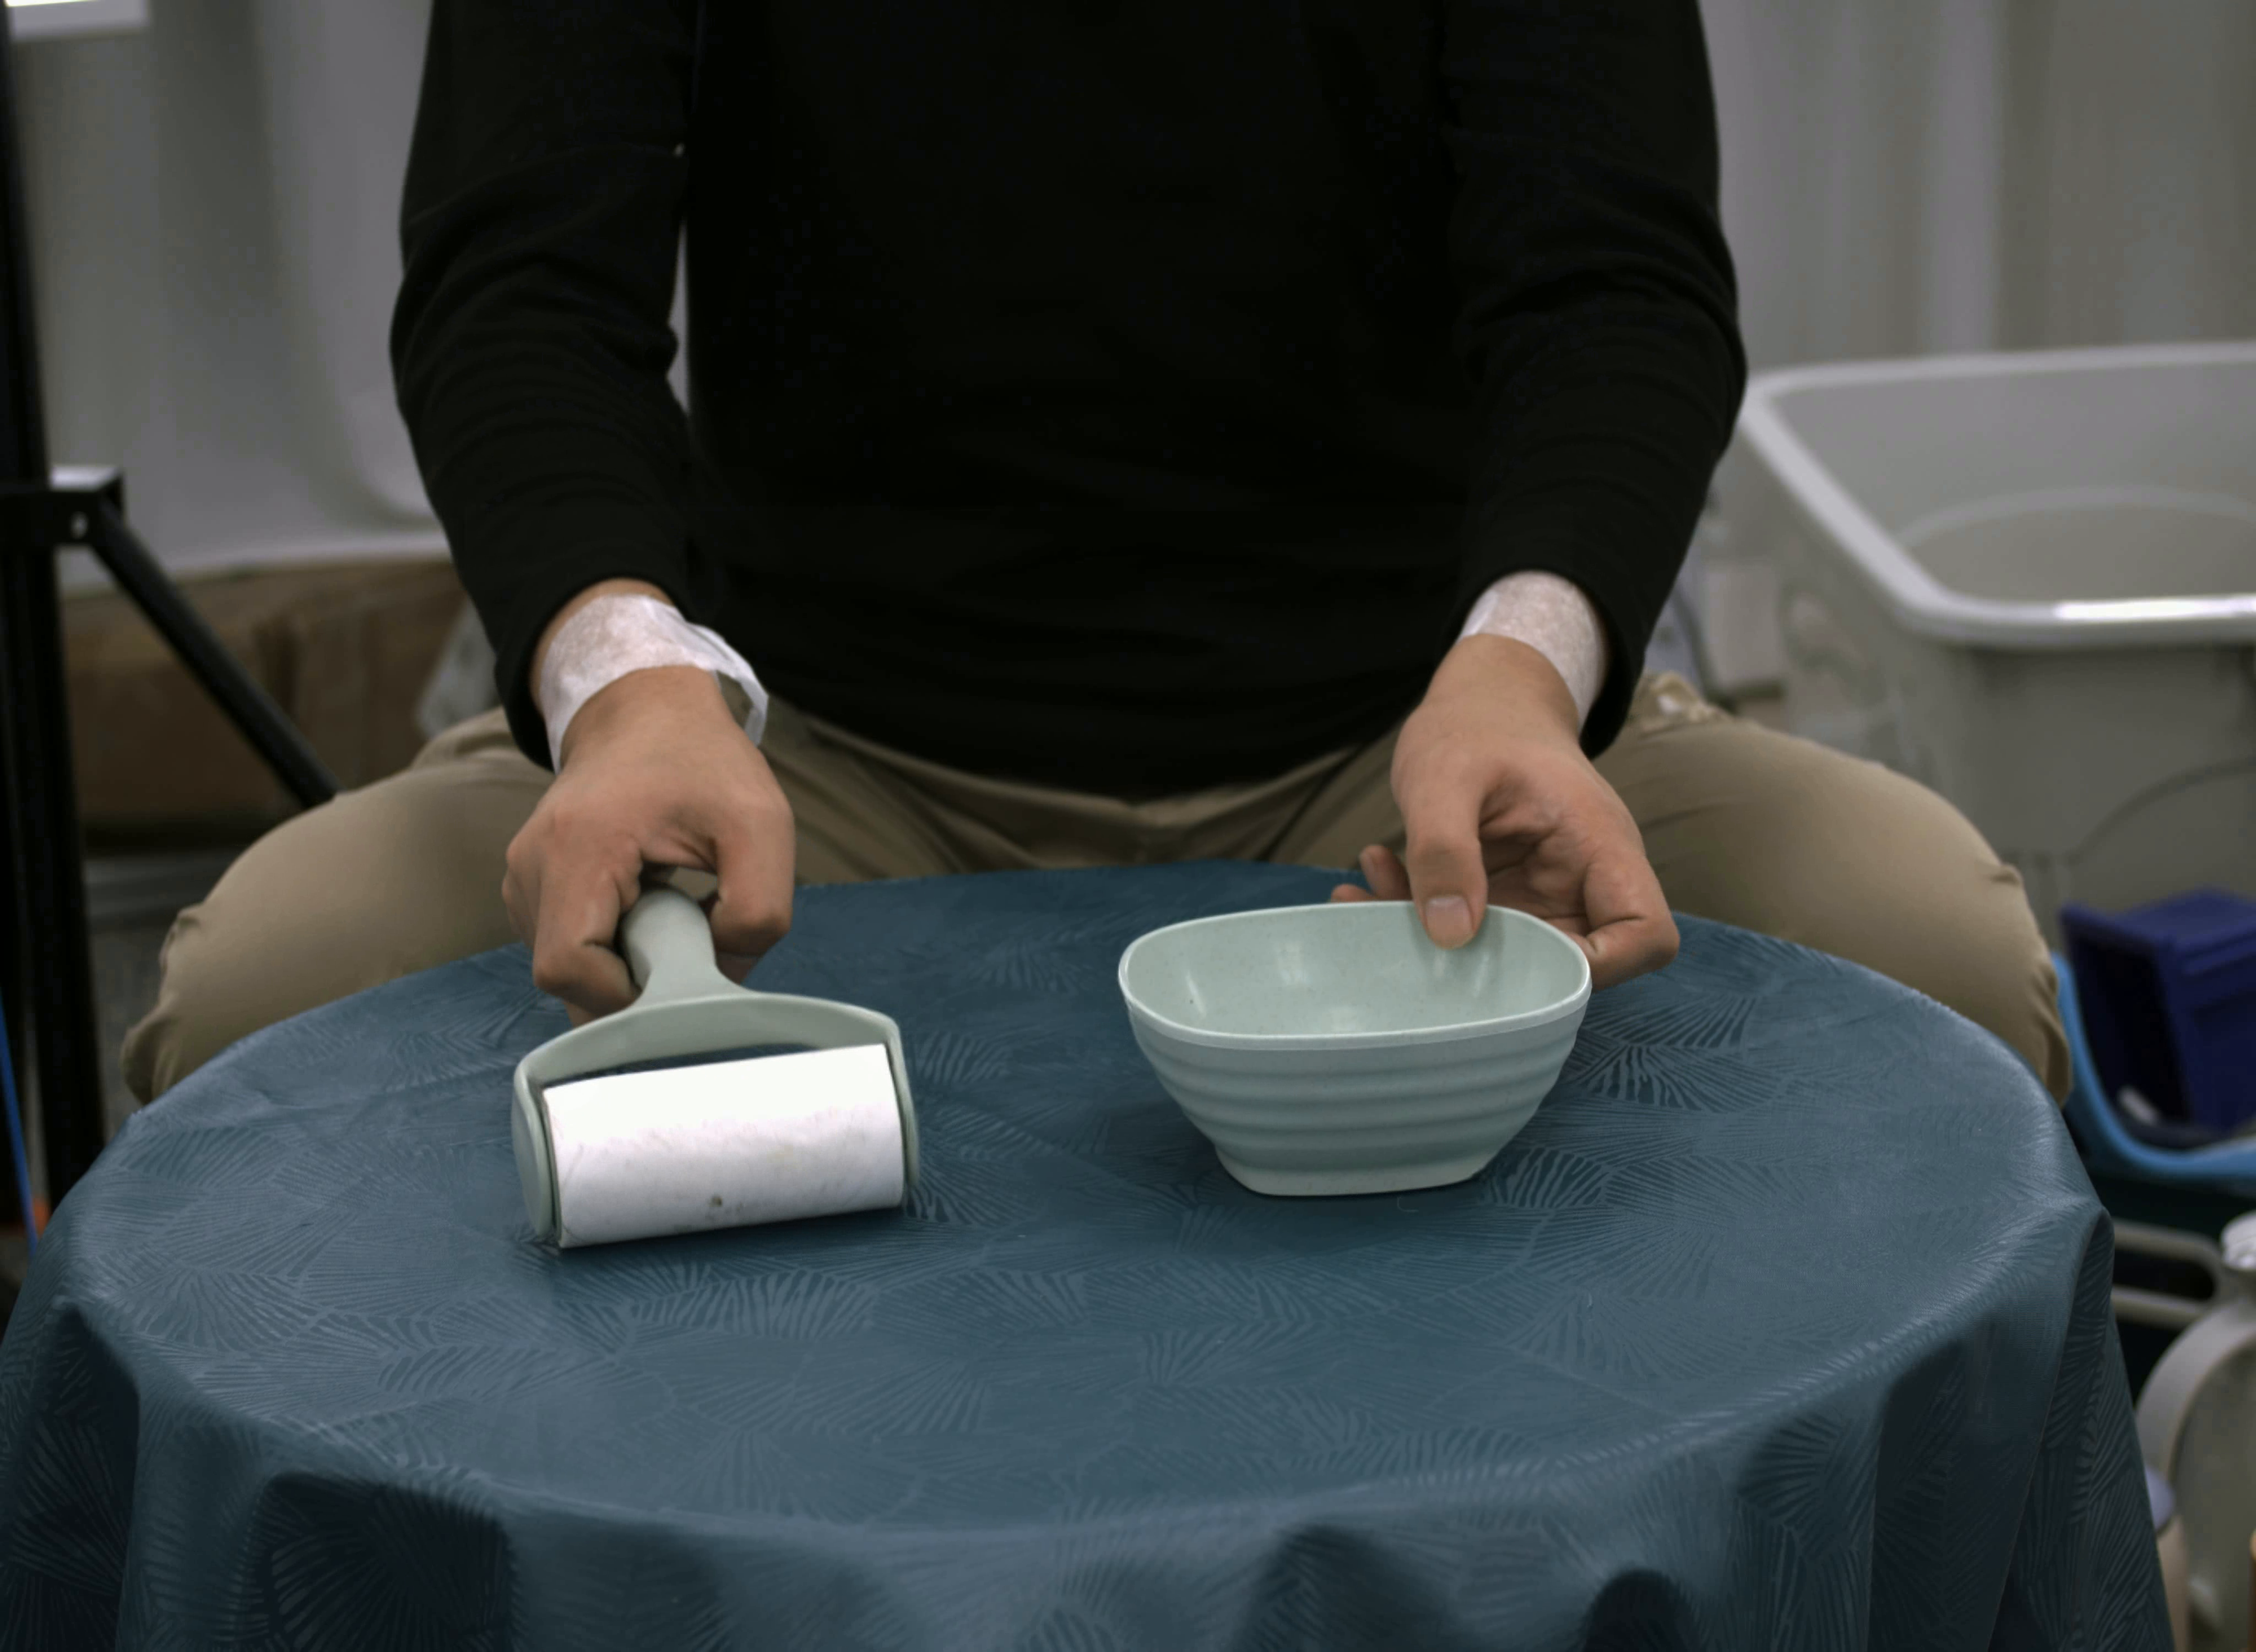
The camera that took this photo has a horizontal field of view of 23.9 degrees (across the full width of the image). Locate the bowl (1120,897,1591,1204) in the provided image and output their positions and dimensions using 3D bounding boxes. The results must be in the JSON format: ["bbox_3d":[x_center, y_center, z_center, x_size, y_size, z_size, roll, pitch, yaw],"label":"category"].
[{"bbox_3d":[0.068,0.070,1.576,0.151,0.058,0.152,-4,16,0],"label":"bowl"}]

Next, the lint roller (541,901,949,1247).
[{"bbox_3d":[-0.126,0.059,1.605,0.115,0.048,0.200,-8,28,-10],"label":"lint roller"}]
